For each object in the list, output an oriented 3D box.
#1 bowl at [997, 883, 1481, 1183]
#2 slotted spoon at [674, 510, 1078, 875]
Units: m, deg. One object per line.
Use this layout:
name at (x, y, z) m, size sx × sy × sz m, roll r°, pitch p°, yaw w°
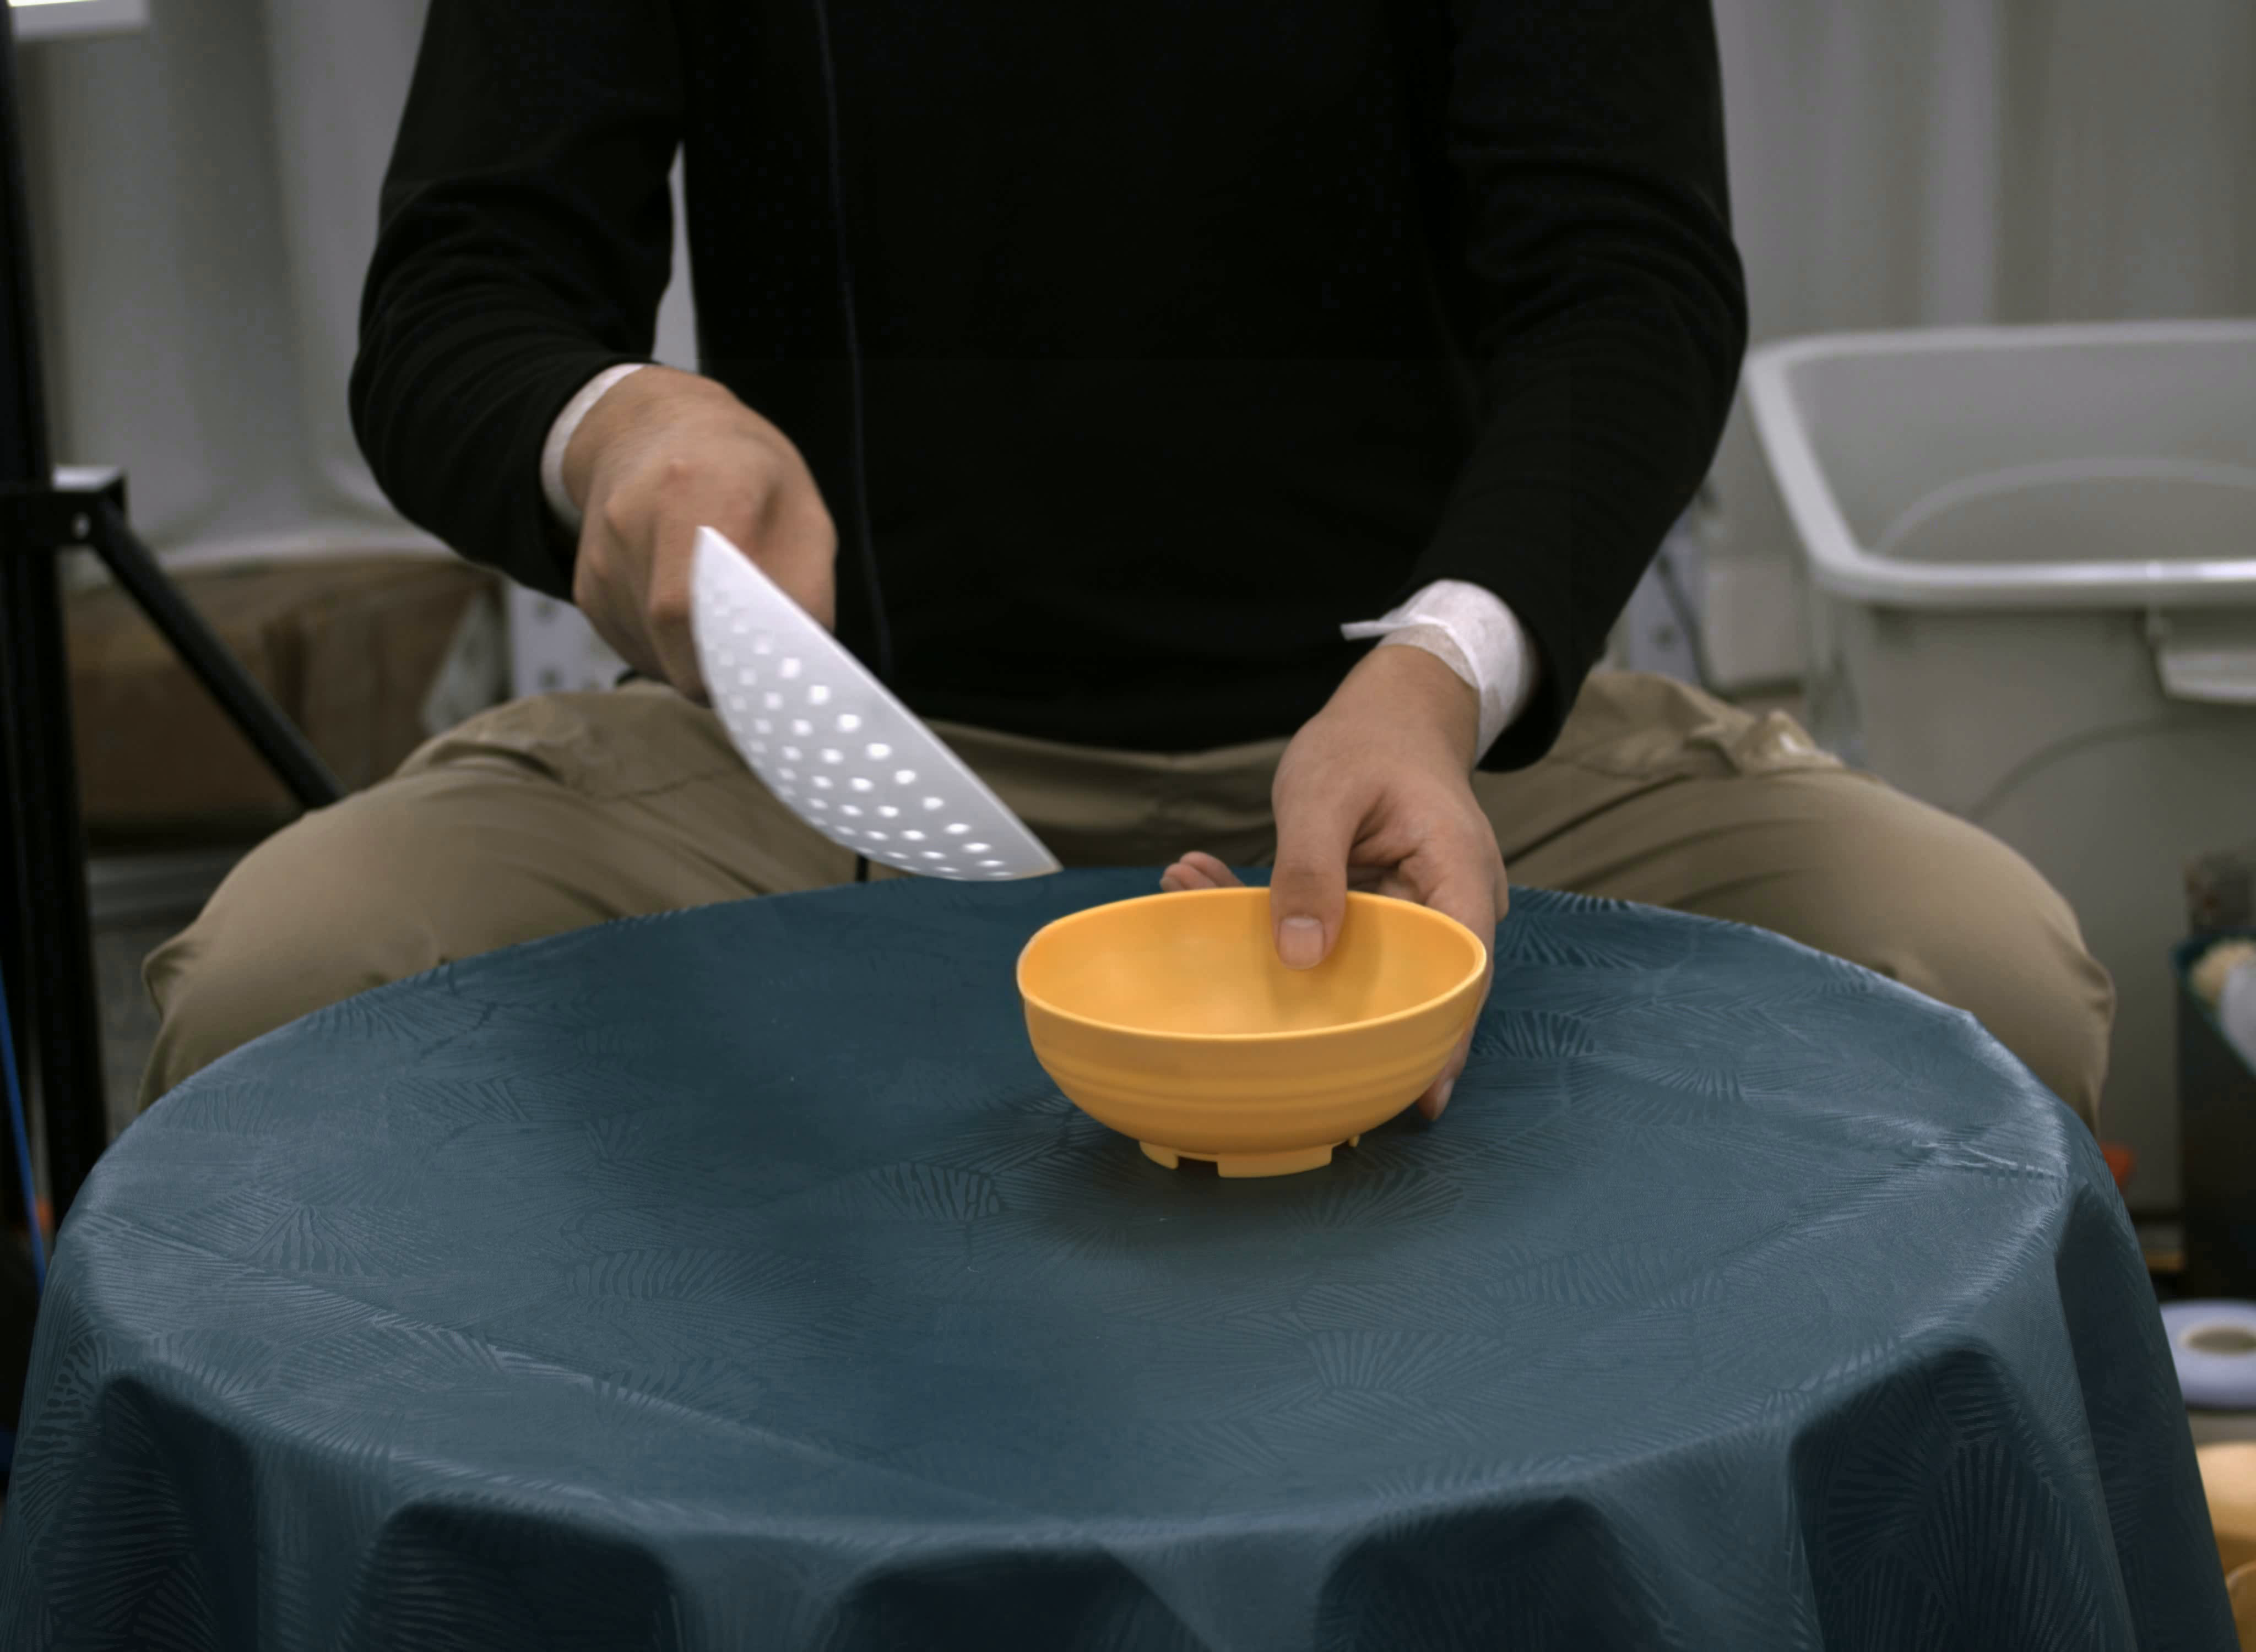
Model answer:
bowl at (0.033, 0.068, 1.589) m, size 0.144 × 0.060 × 0.146 m, roll -1°, pitch 17°, yaw -1°
slotted spoon at (-0.094, -0.052, 1.568) m, size 0.046 × 0.134 × 0.354 m, roll -44°, pitch 17°, yaw 1°
